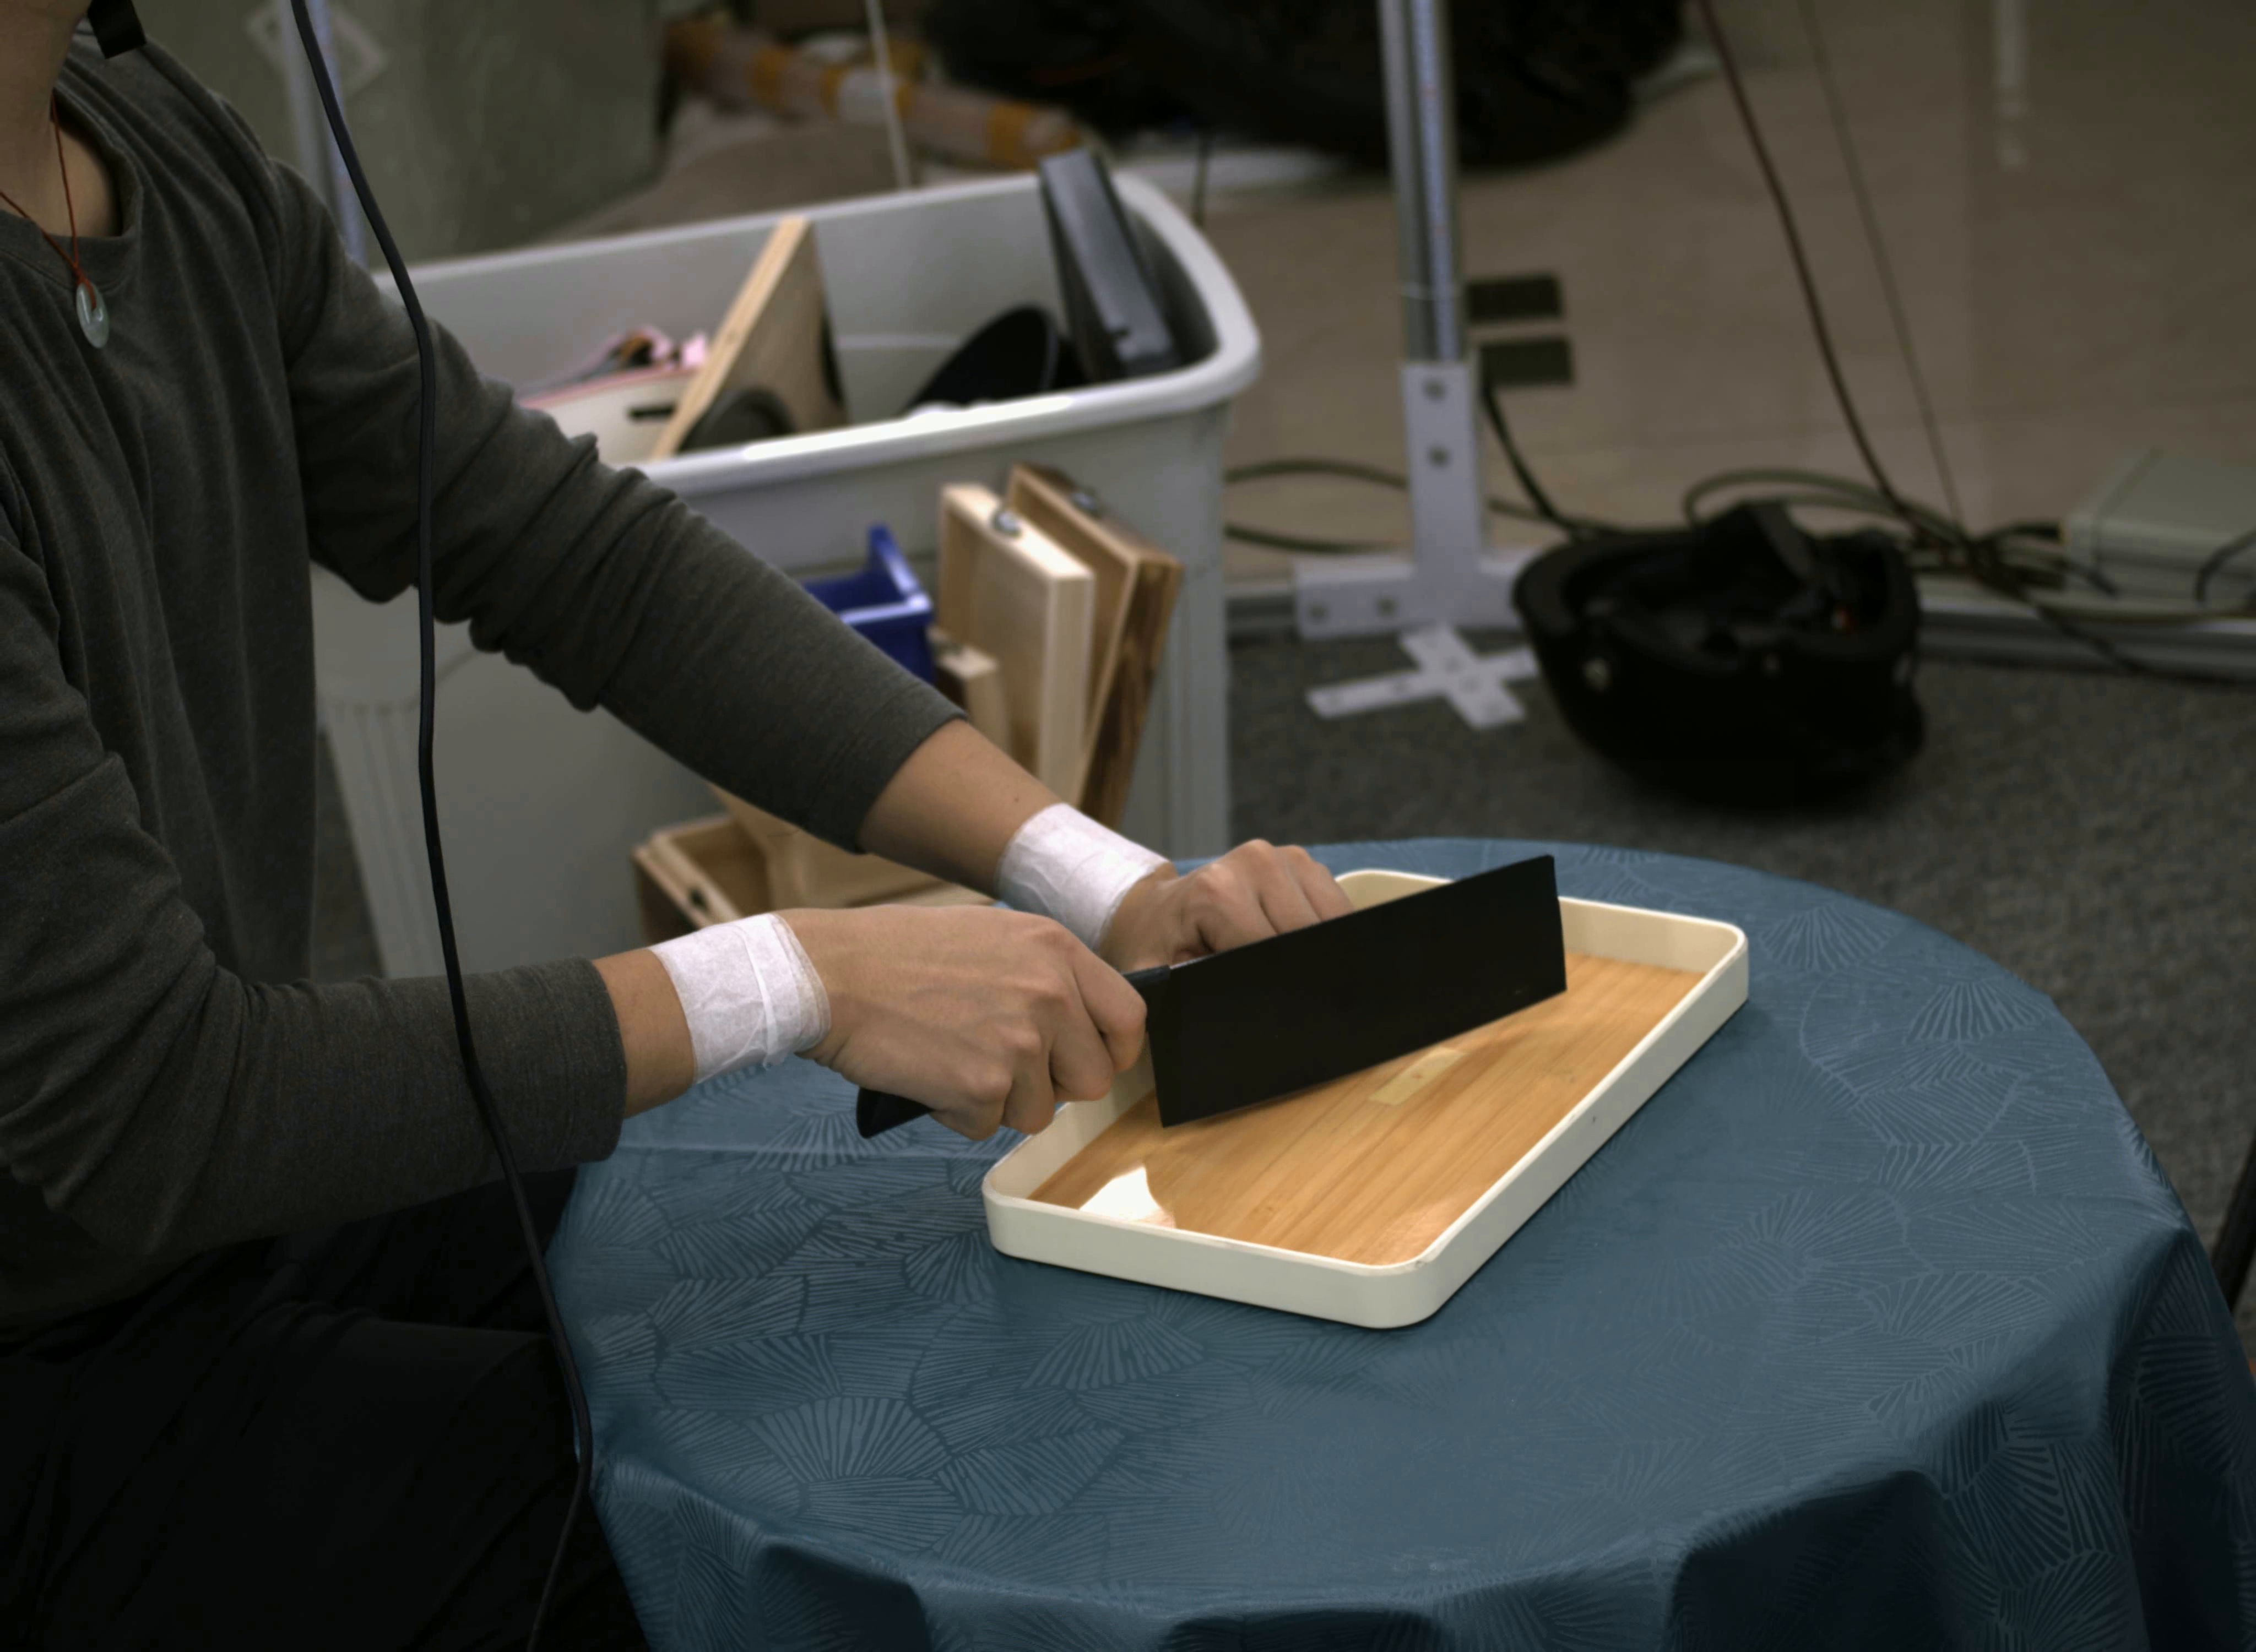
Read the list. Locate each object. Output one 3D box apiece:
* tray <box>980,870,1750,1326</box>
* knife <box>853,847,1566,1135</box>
[{"bbox_3d":[0.095,0.100,2.181,0.191,0.028,0.297,9,29,31],"label":"tray"},{"bbox_3d":[0.035,0.073,2.162,0.301,0.082,0.020,-12,23,-22],"label":"knife"}]
